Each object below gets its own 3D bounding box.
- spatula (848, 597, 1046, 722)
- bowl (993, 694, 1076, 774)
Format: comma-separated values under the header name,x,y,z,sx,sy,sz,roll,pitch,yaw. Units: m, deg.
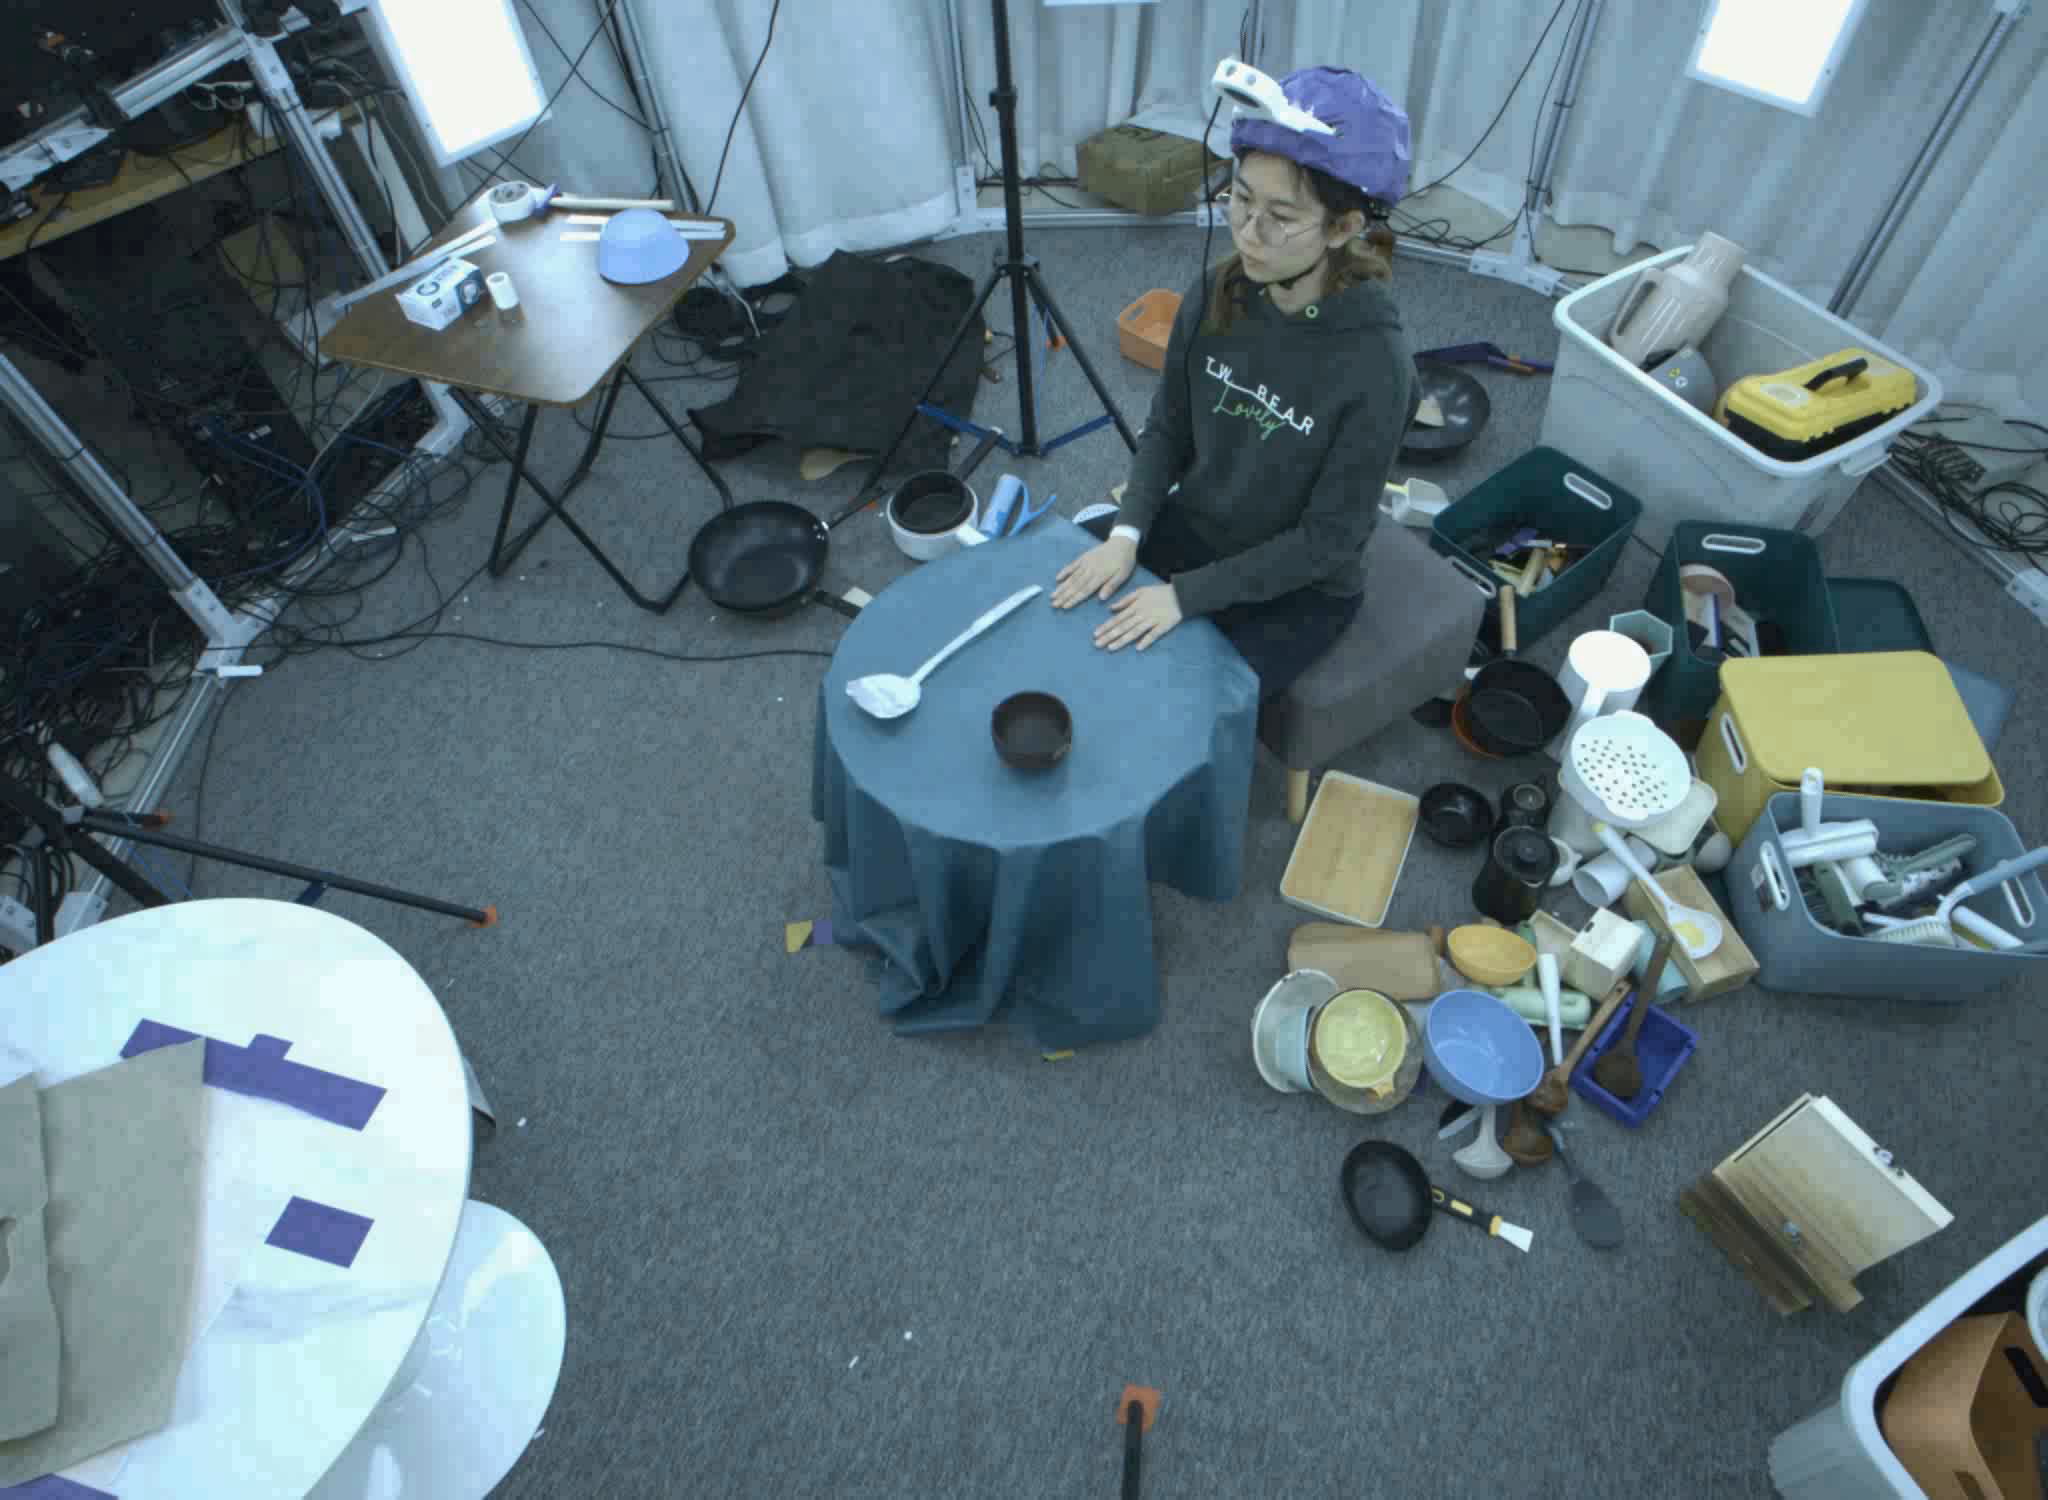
name,x,y,z,sx,sy,sz,roll,pitch,yaw
spatula,-0.107,-0.154,1.885,0.367,0.045,0.097,-39,60,-22
bowl,0.015,-0.015,1.765,0.118,0.070,0.117,1,54,0
